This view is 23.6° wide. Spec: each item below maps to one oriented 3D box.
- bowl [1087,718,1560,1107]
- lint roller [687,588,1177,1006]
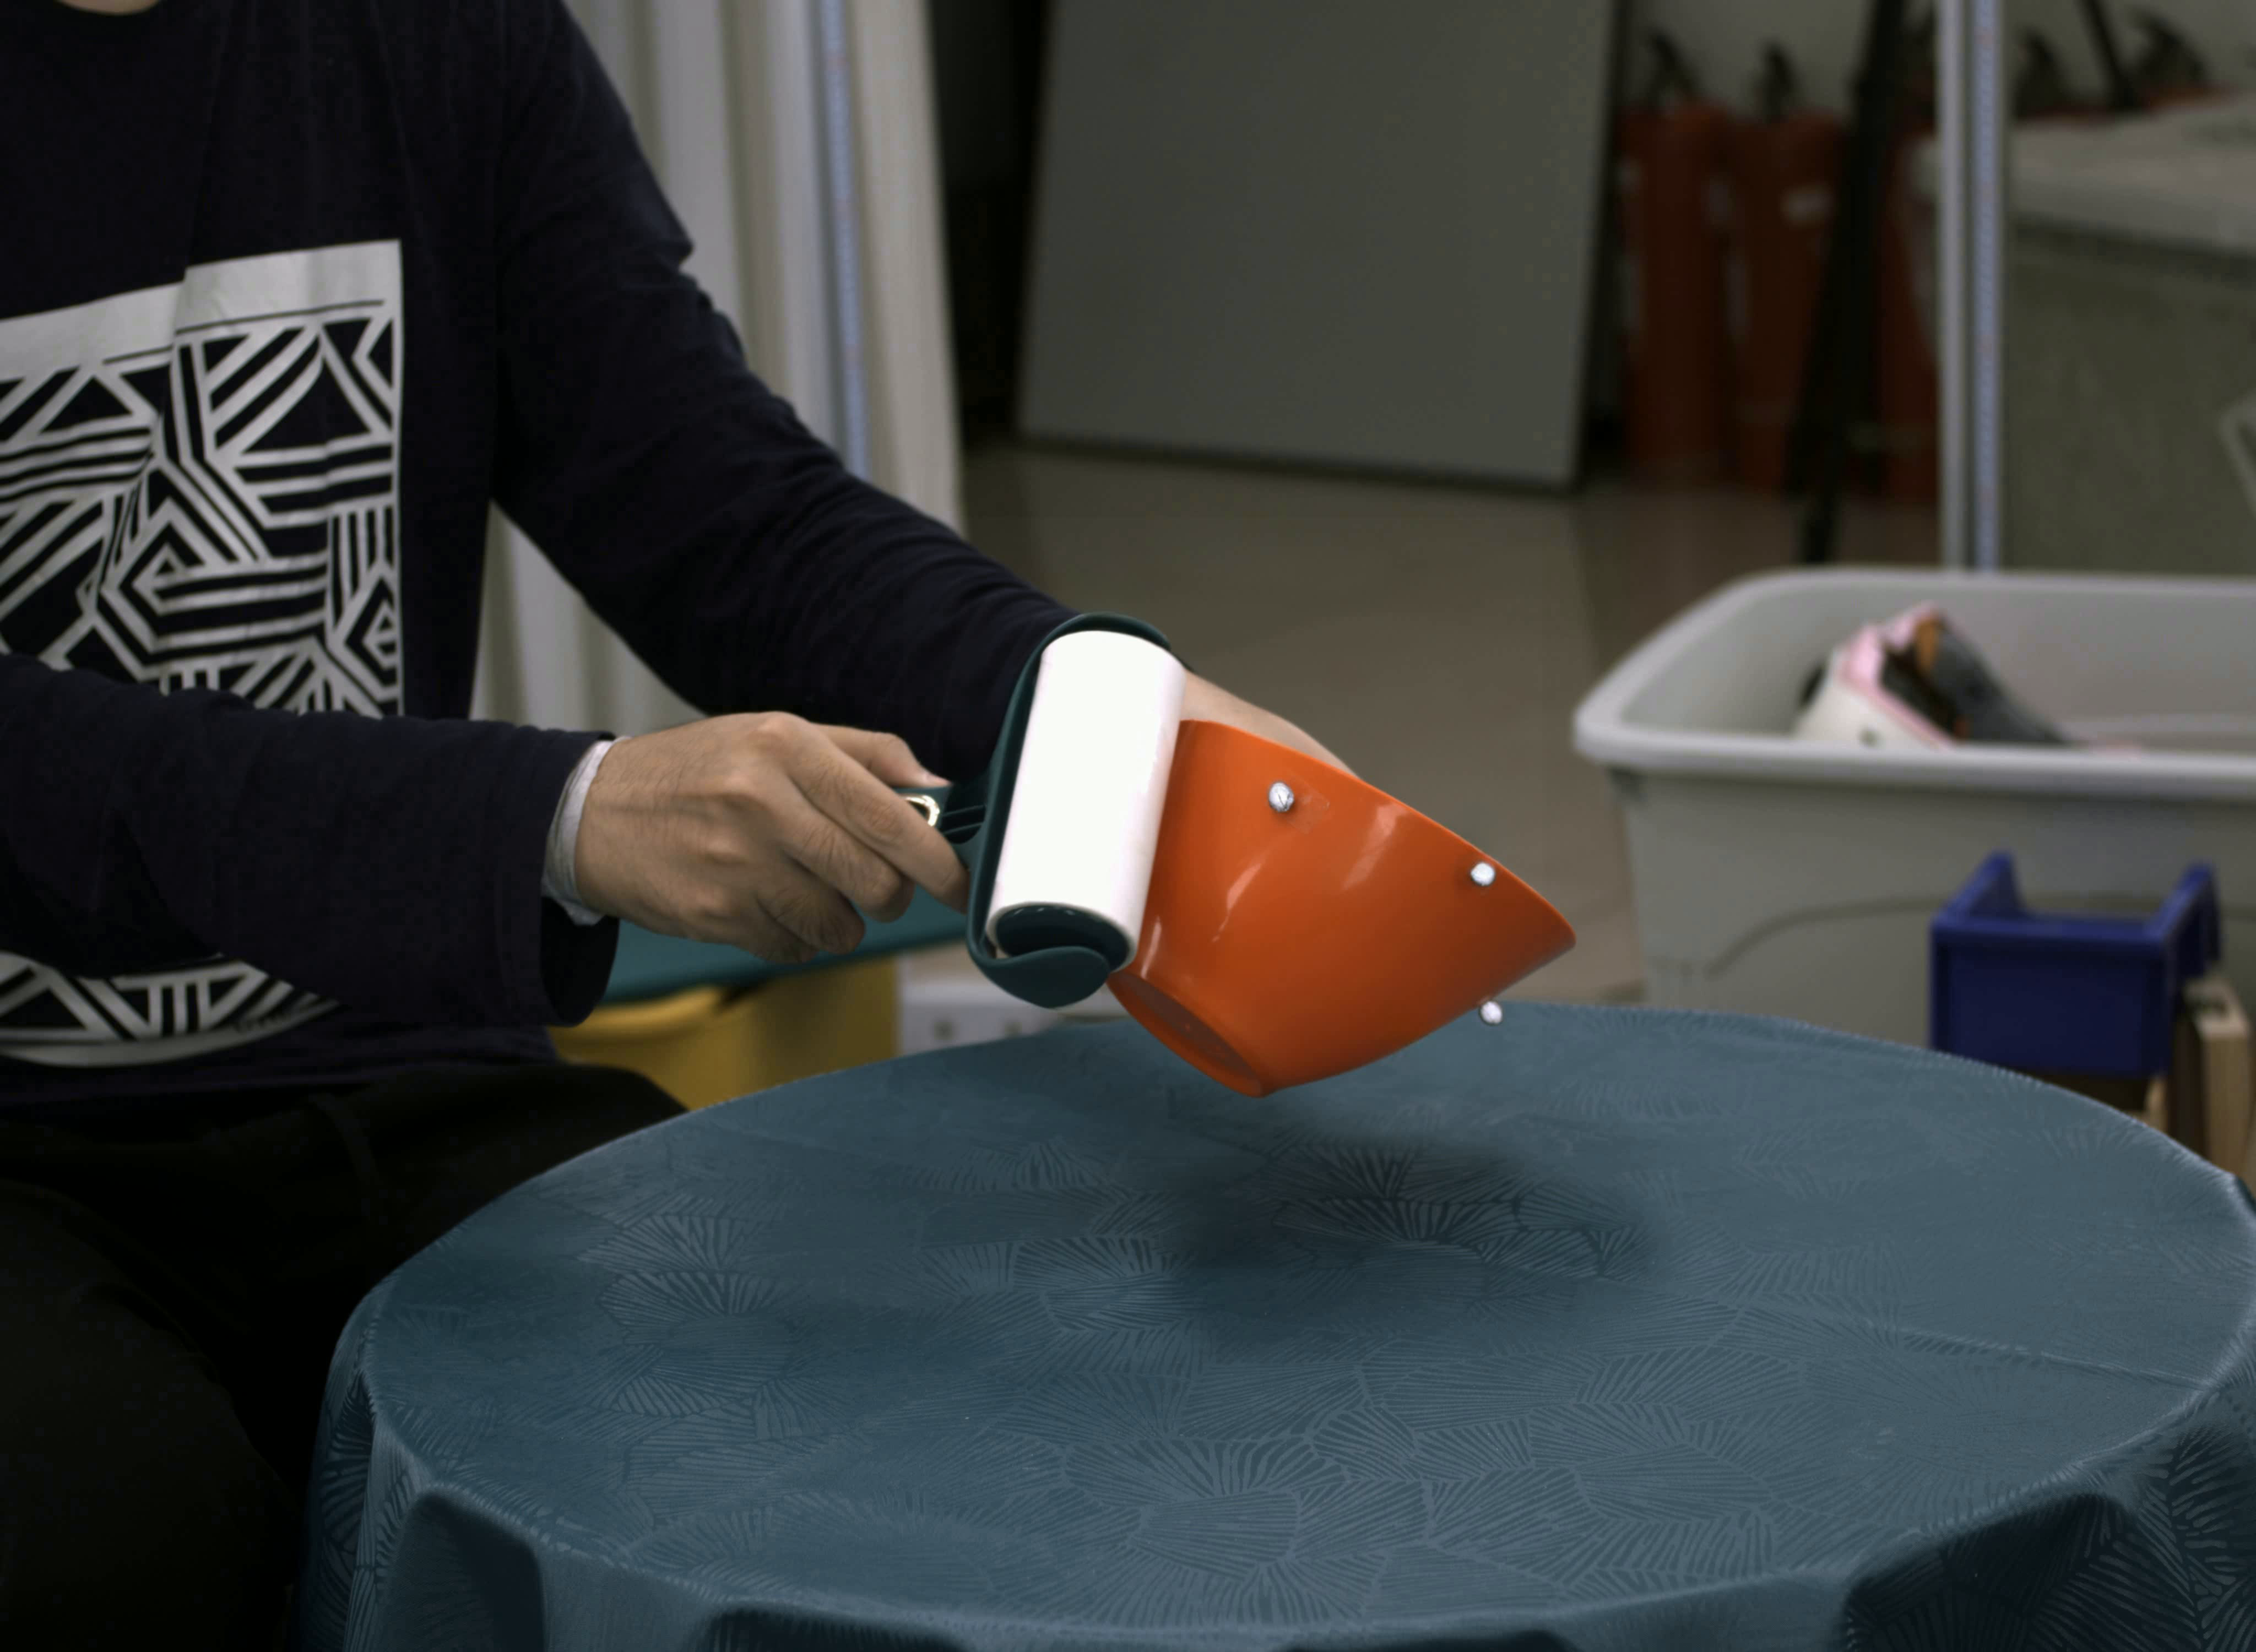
[{"bbox_3d":[0.051,0.036,1.724,0.104,0.146,0.149,-52,33,-15],"label":"bowl"},{"bbox_3d":[-0.073,0.000,1.702,0.180,0.048,0.135,-7,55,28],"label":"lint roller"}]
